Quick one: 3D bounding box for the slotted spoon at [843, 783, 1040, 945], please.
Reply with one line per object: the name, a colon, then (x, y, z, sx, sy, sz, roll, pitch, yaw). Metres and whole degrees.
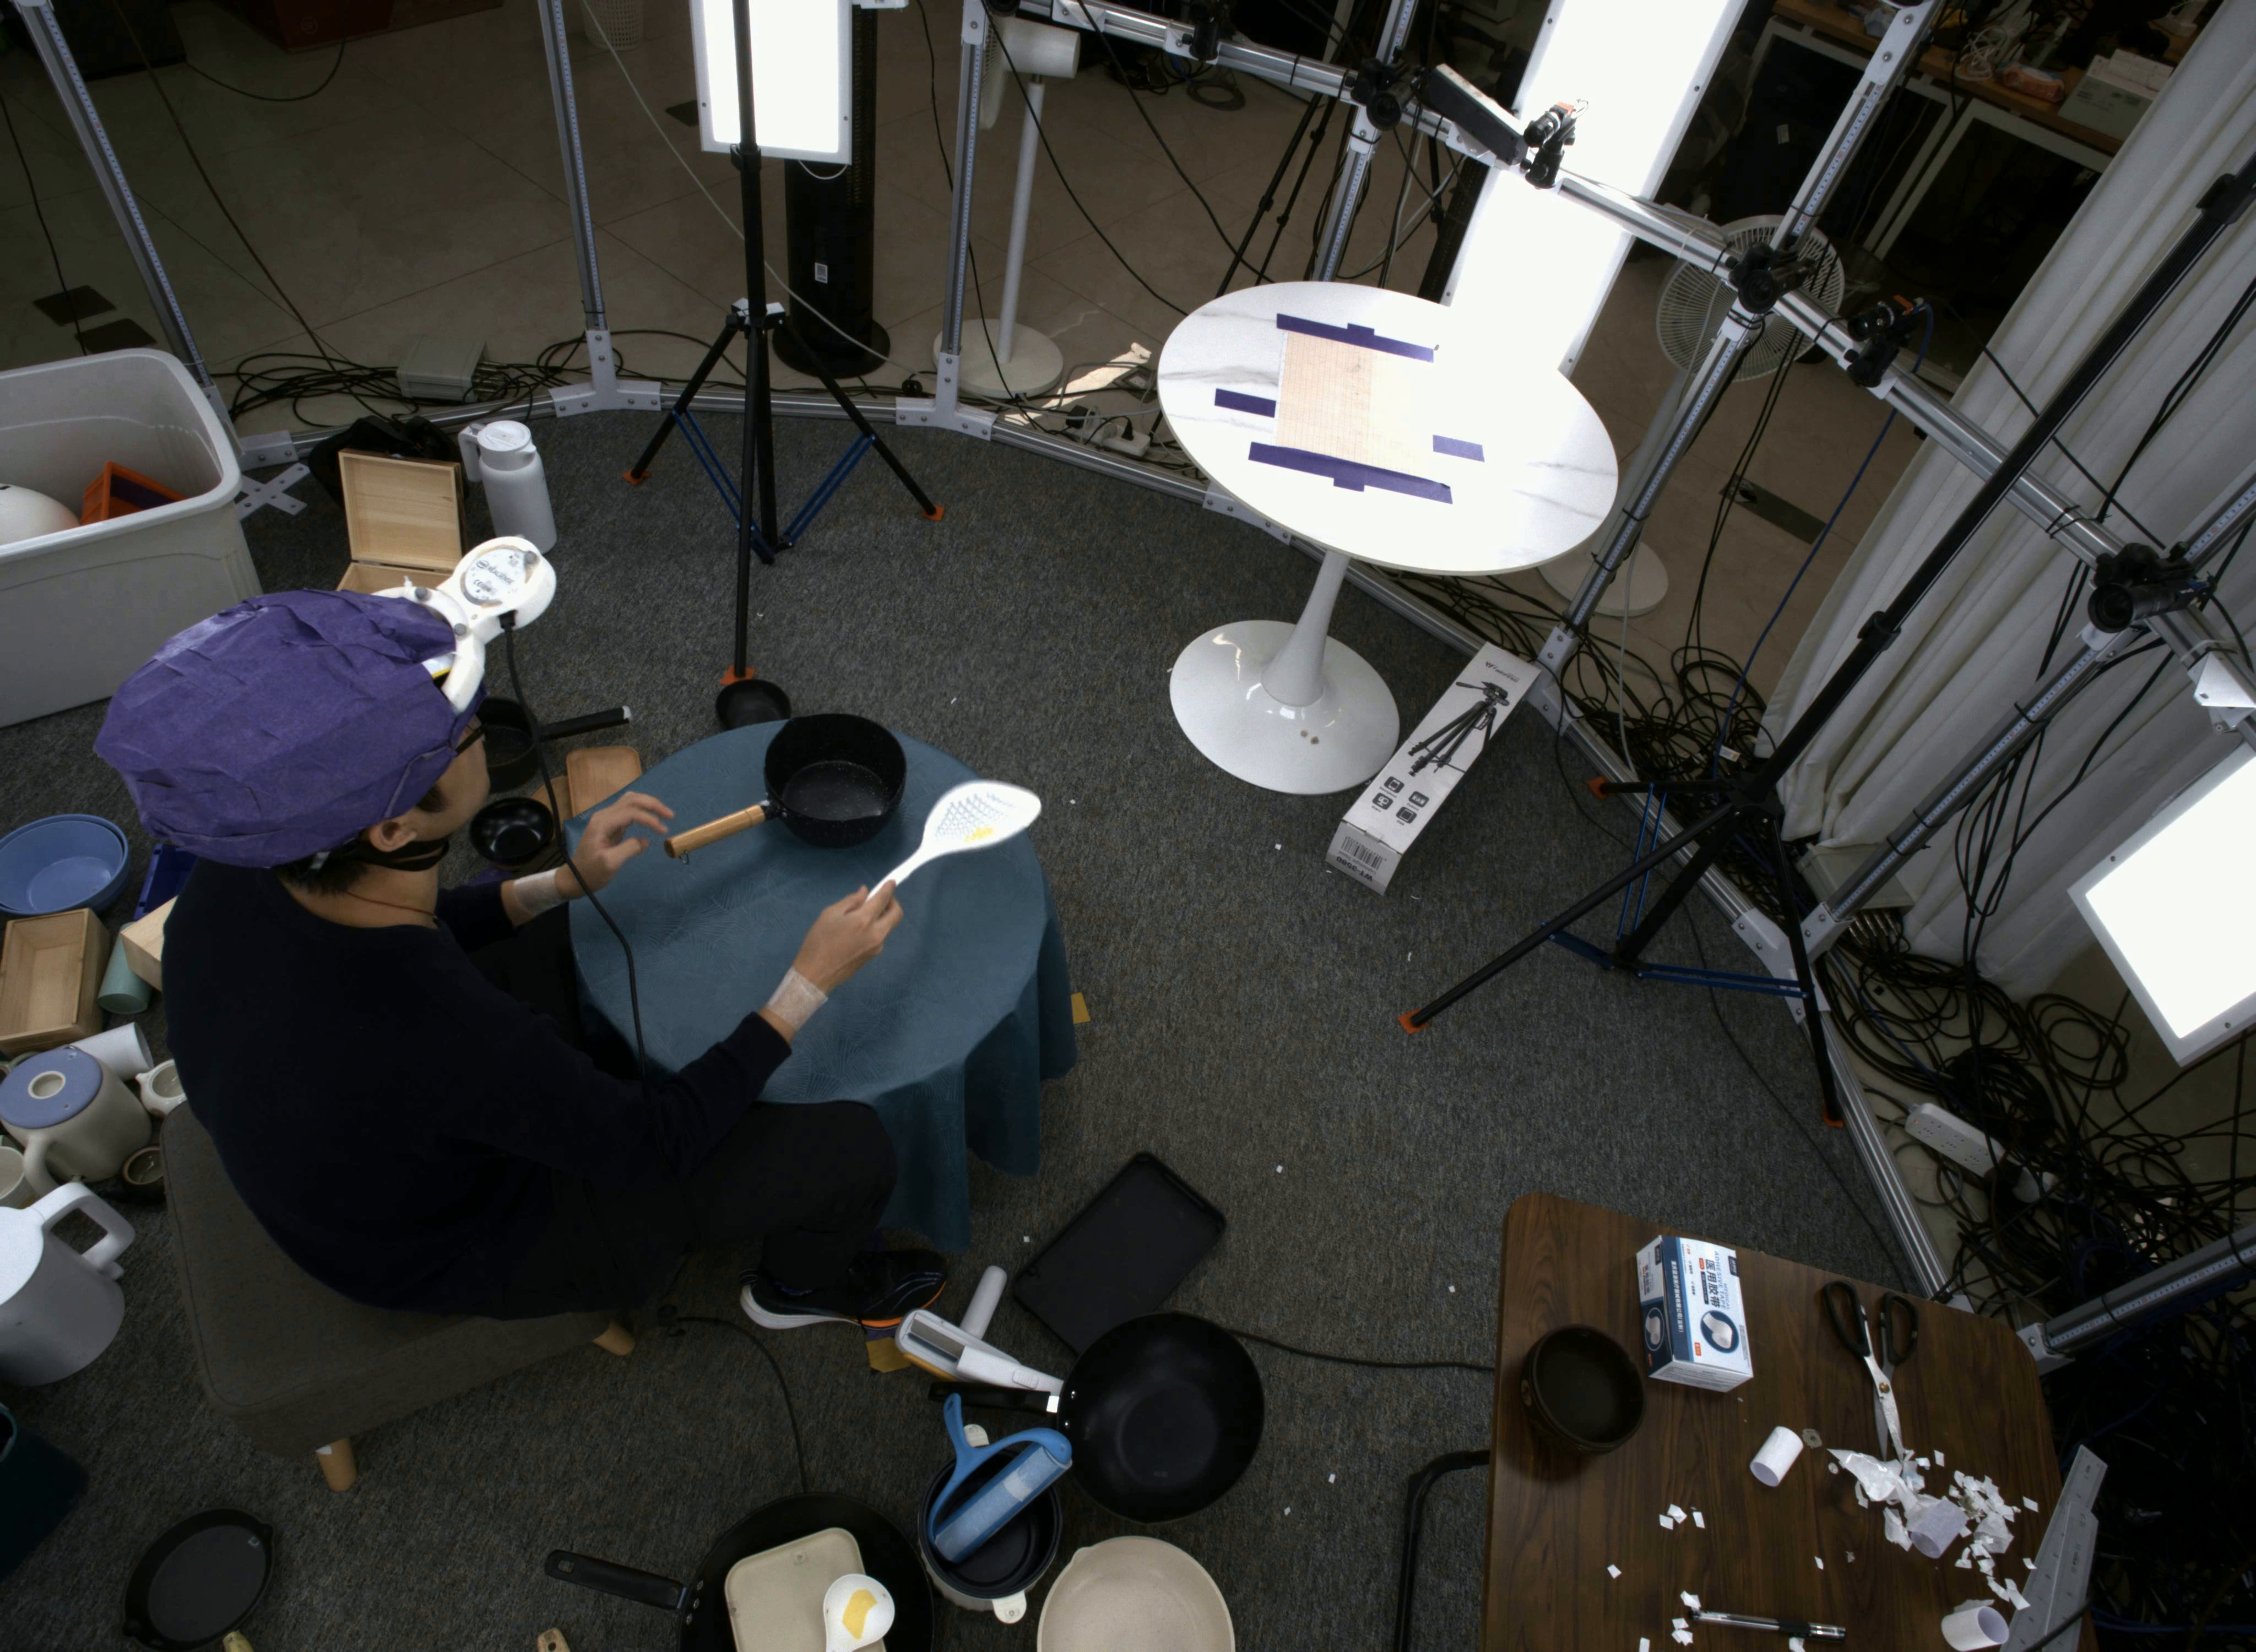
slotted spoon: (-0.237, 0.039, 1.590, 0.132, 0.052, 0.348, 16, 32, 26)

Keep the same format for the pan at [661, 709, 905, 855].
pan: (-0.441, -0.025, 1.658, 0.203, 0.110, 0.344, 43, 54, 17)
